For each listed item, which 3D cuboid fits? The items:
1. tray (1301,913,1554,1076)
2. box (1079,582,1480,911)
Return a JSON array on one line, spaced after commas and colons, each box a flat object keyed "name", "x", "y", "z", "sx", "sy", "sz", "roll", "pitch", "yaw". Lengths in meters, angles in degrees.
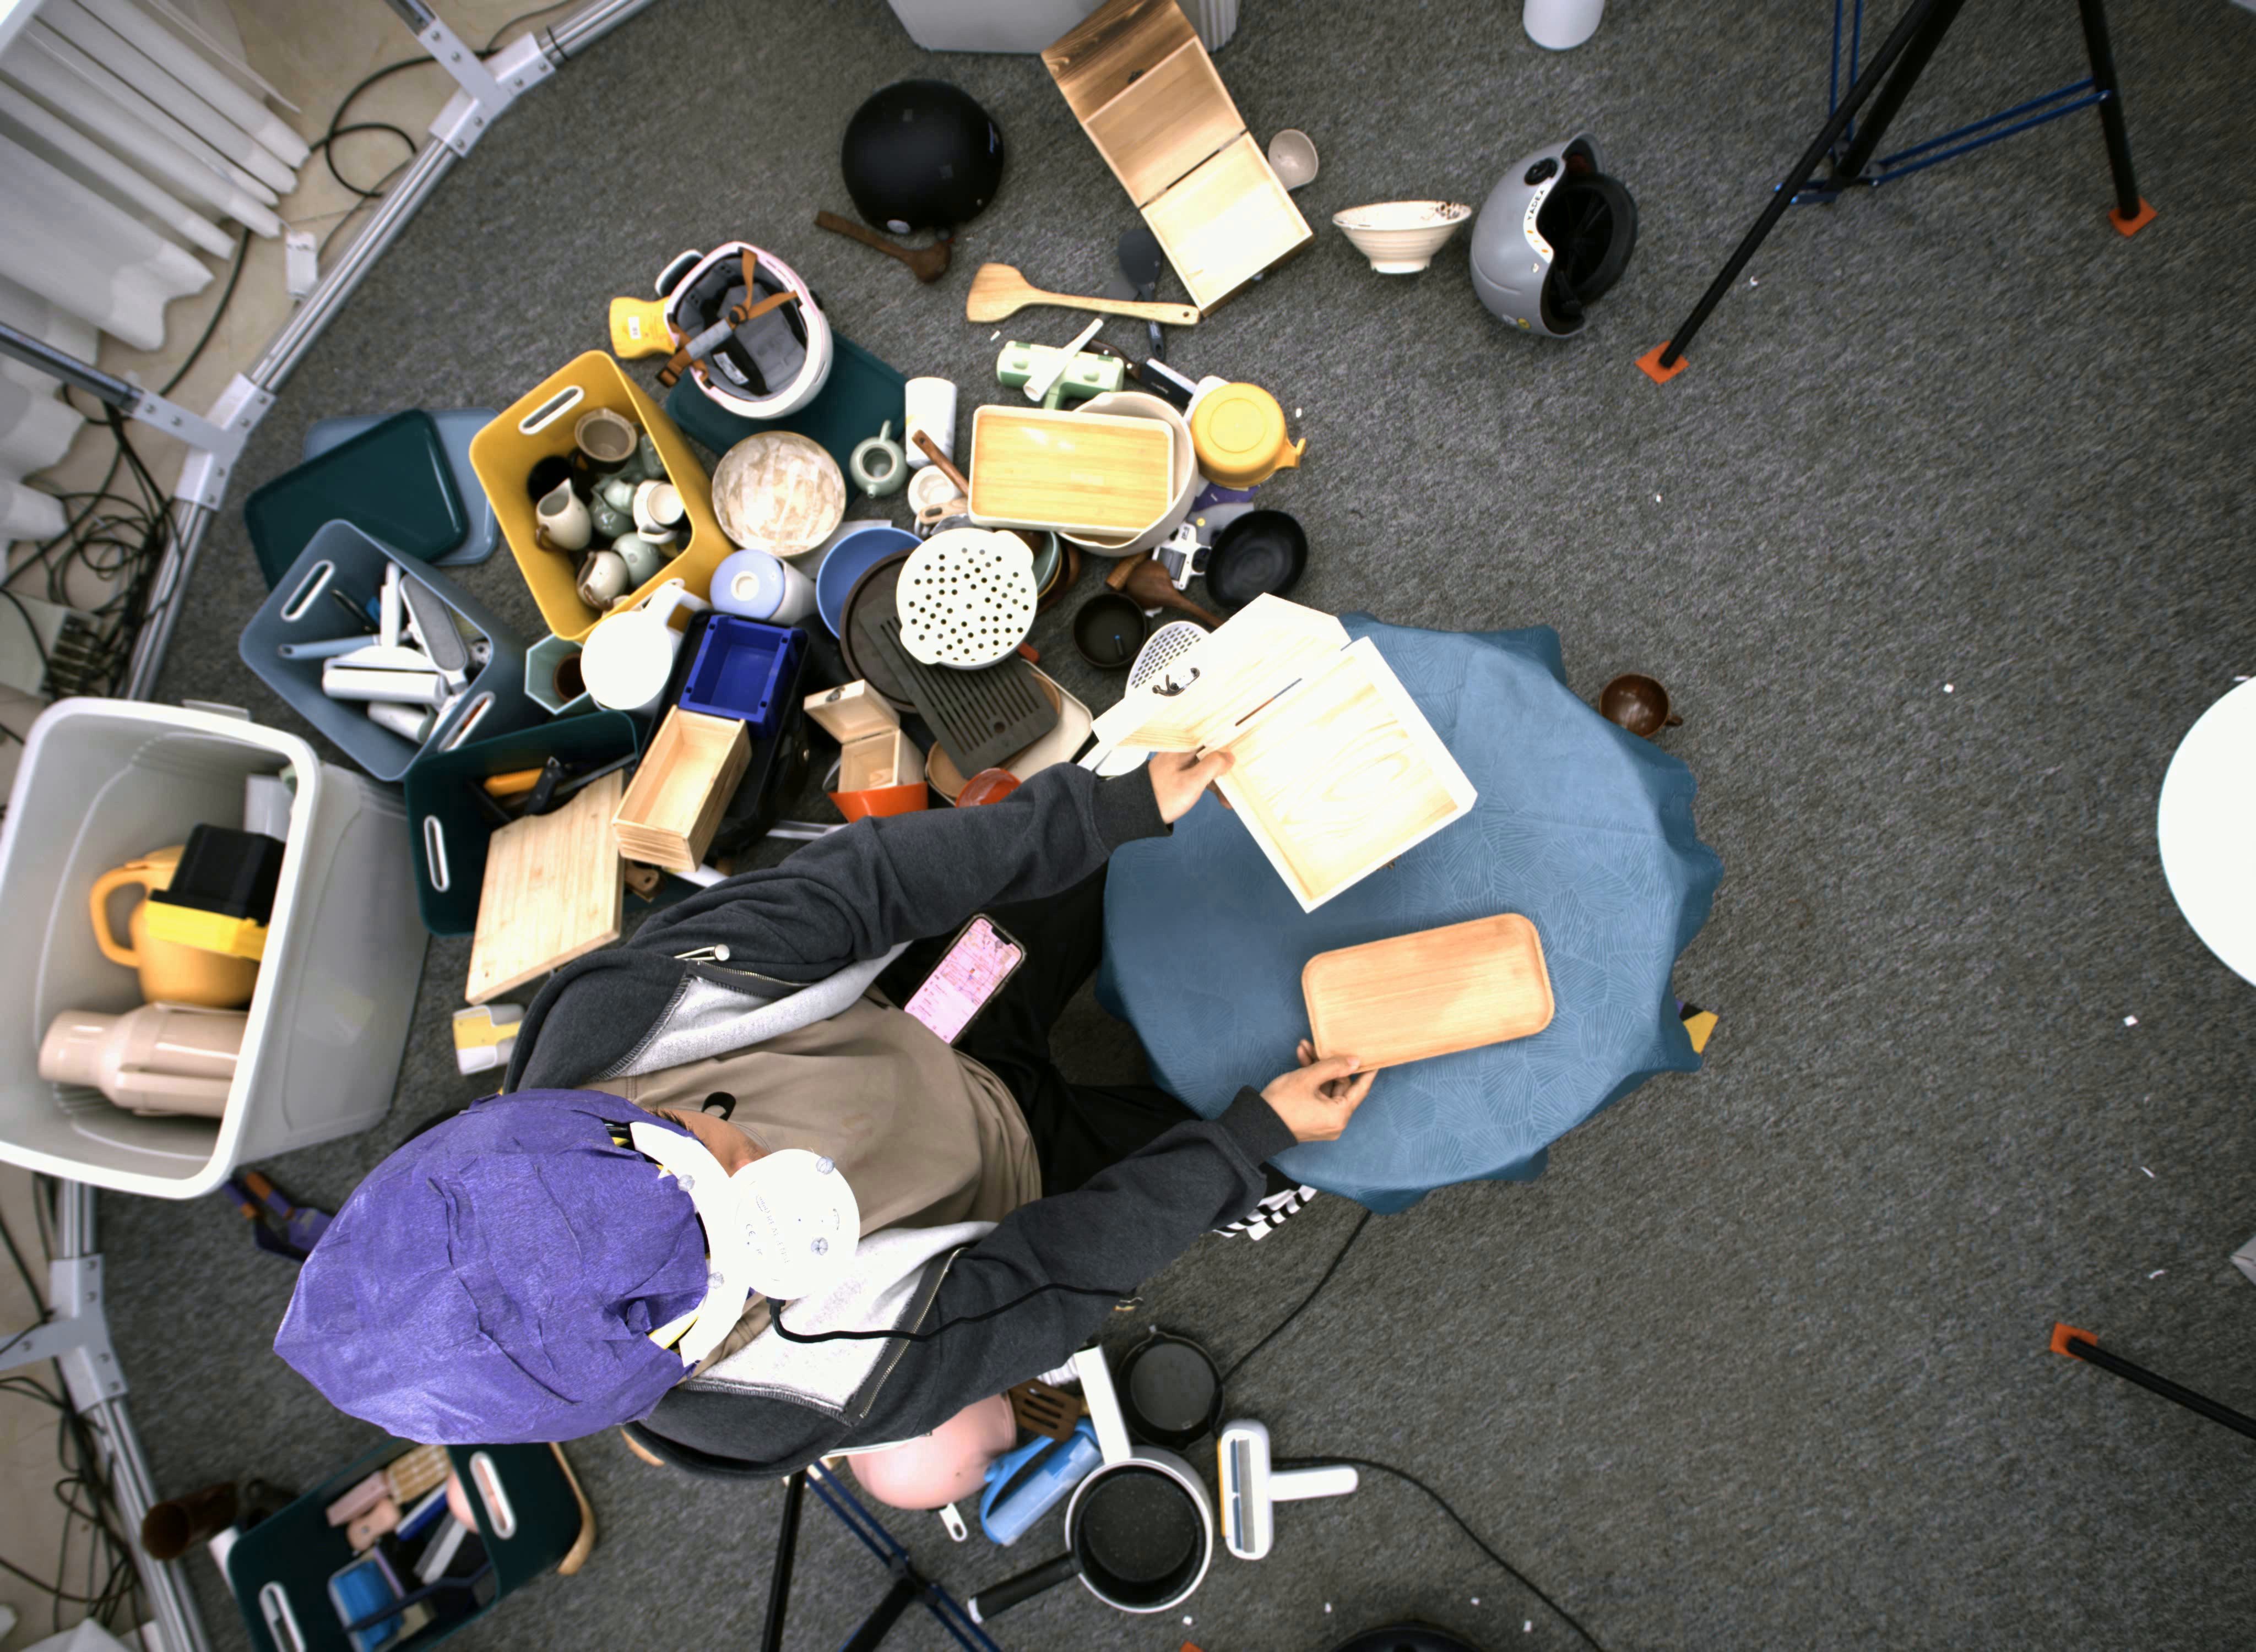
[{"name": "tray", "x": 0.307, "y": 0.171, "z": 1.417, "sx": 0.251, "sy": 0.023, "sz": 0.130, "roll": -11, "pitch": 85, "yaw": 1}, {"name": "box", "x": 0.144, "y": -0.060, "z": 1.199, "sx": 0.185, "sy": 0.249, "sz": 0.265, "roll": -36, "pitch": 89, "yaw": 26}]
